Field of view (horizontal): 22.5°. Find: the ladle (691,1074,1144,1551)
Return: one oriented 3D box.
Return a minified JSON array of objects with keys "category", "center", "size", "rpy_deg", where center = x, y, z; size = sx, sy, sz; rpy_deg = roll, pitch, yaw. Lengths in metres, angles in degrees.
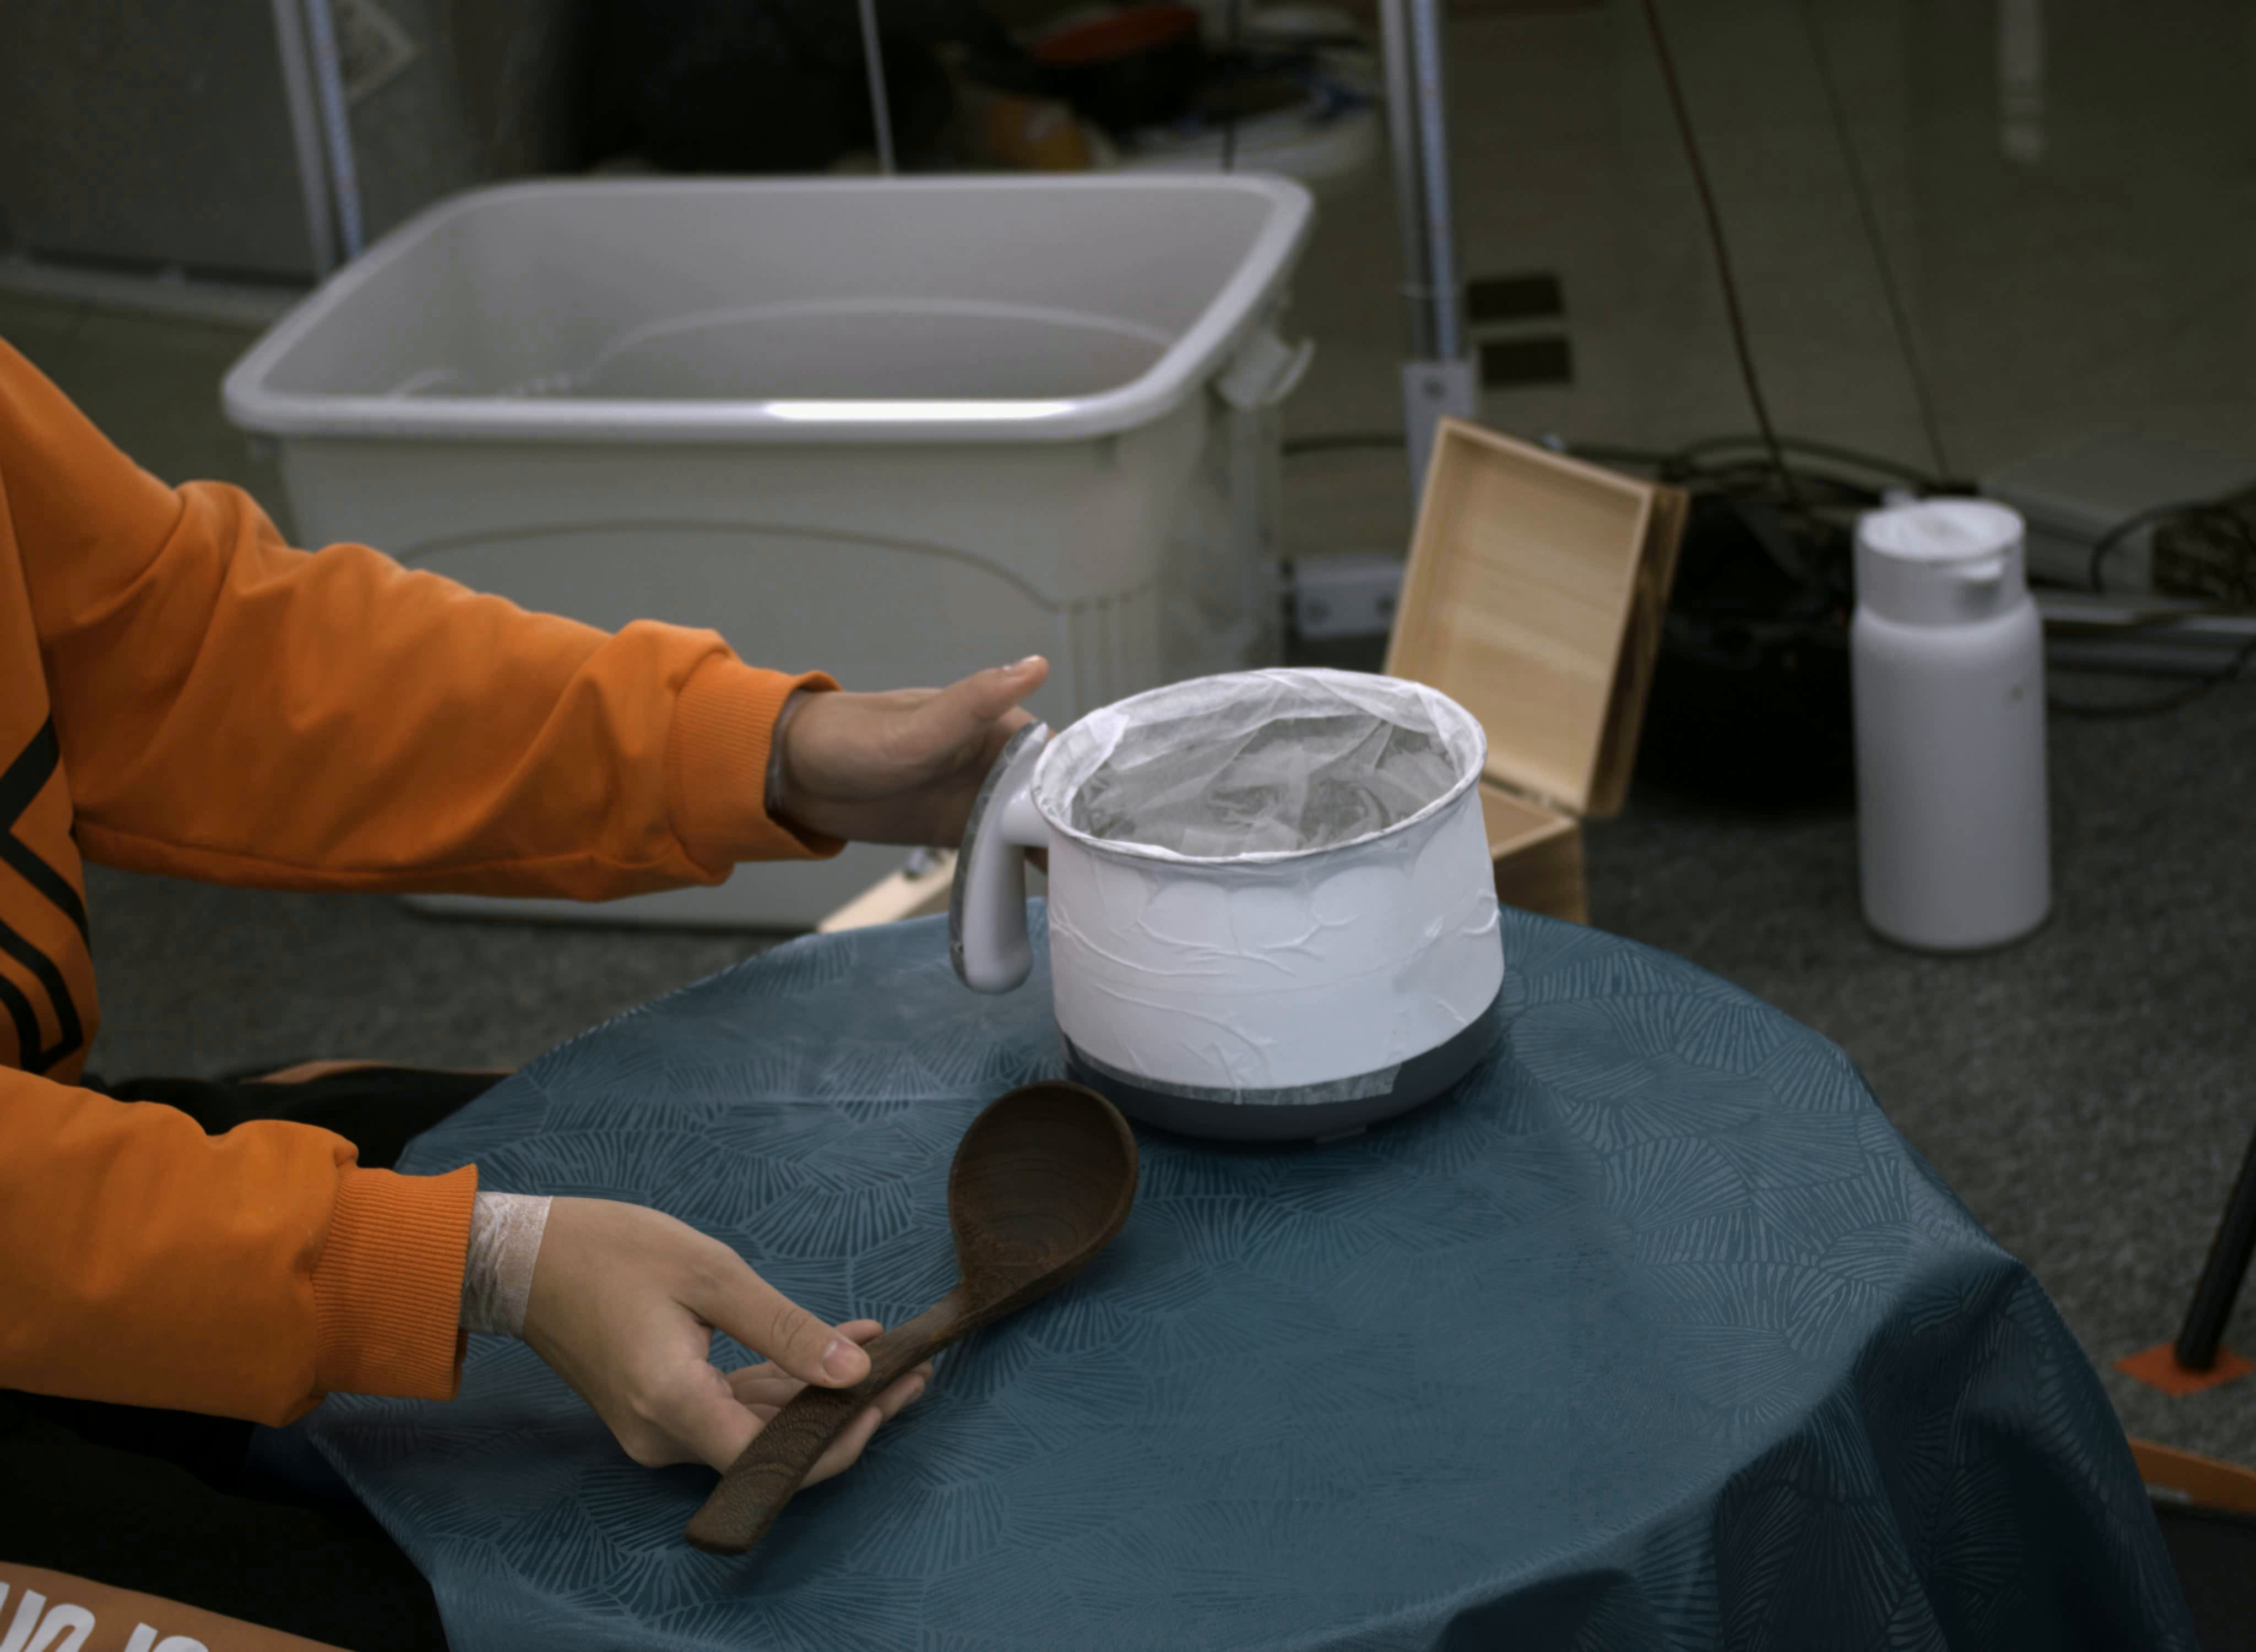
[{"category":"ladle","center":[-0.078,0.166,2.009],"size":[0.076,0.072,0.271],"rpy_deg":[6,22,27]}]

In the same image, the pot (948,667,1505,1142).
[{"category":"pot","center":[0.032,0.029,2.209],"size":[0.233,0.139,0.176],"rpy_deg":[7,28,26]}]
